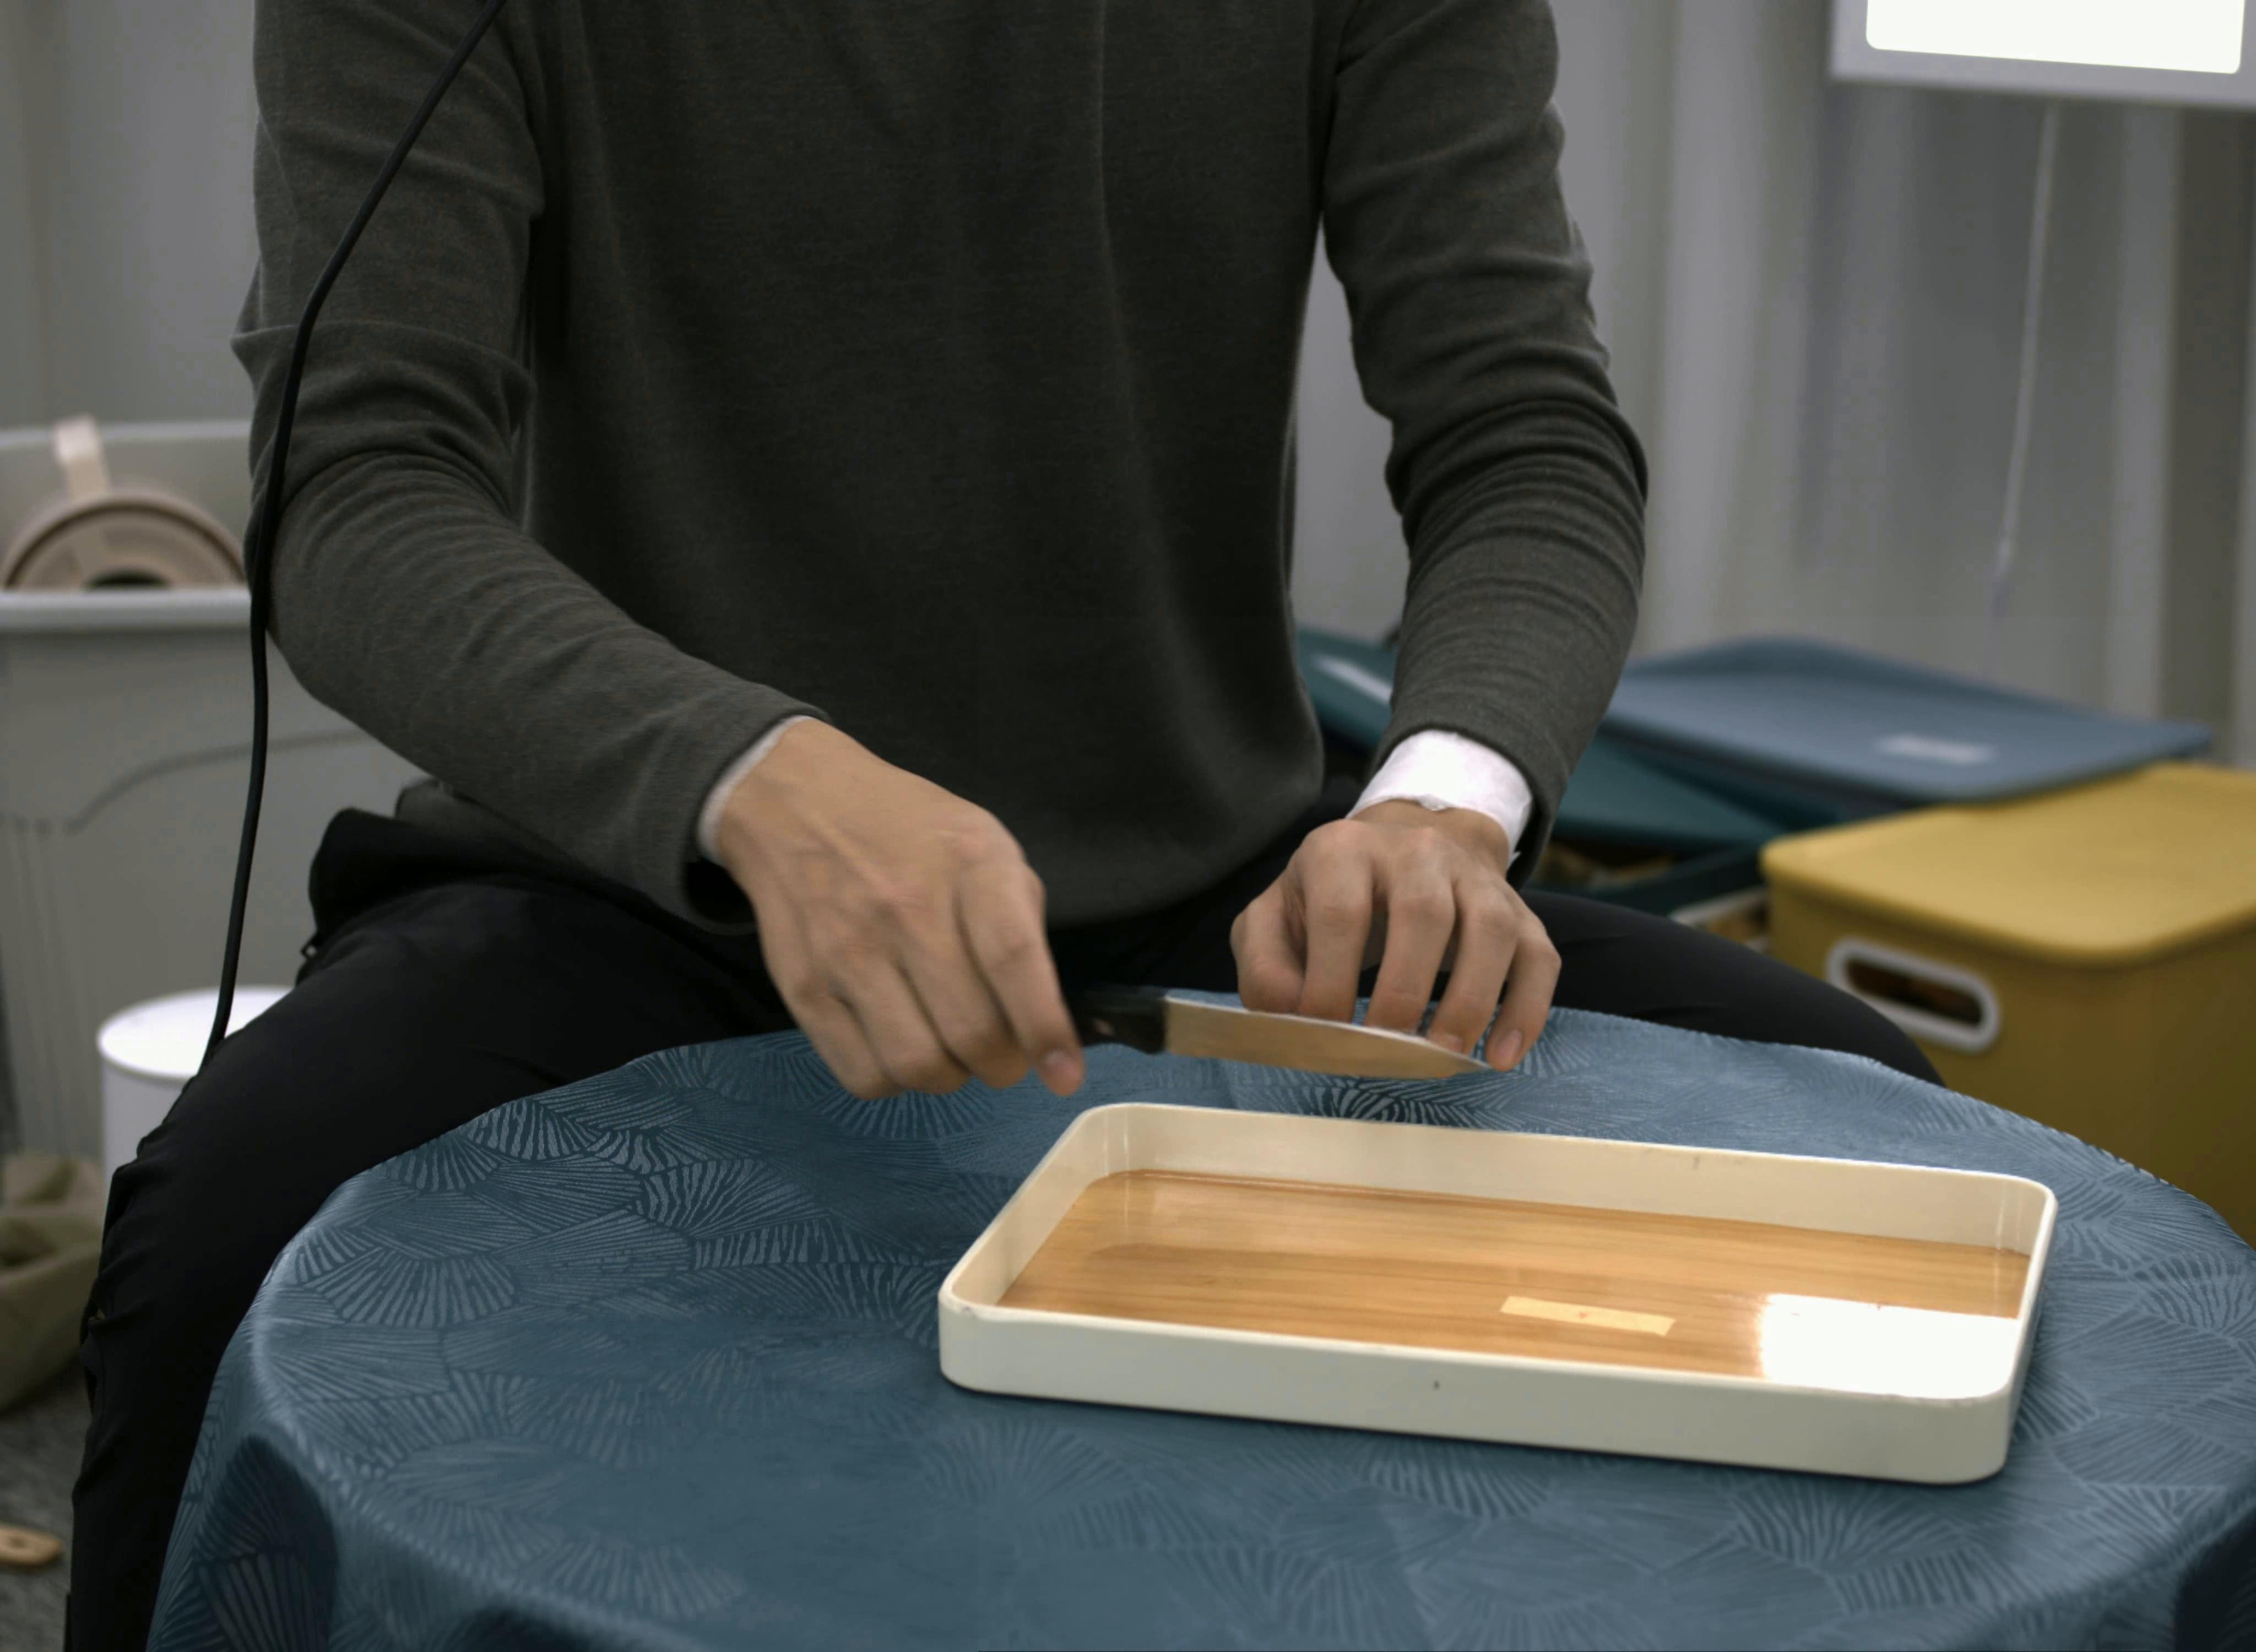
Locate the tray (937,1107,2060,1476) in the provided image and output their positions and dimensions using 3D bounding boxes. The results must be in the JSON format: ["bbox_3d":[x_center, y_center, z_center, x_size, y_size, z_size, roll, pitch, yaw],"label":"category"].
[{"bbox_3d":[0.110,0.131,1.513,0.298,0.027,0.191,4,15,13],"label":"tray"}]

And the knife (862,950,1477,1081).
[{"bbox_3d":[0.007,0.054,1.488,0.235,0.025,0.016,7,49,43],"label":"knife"}]
